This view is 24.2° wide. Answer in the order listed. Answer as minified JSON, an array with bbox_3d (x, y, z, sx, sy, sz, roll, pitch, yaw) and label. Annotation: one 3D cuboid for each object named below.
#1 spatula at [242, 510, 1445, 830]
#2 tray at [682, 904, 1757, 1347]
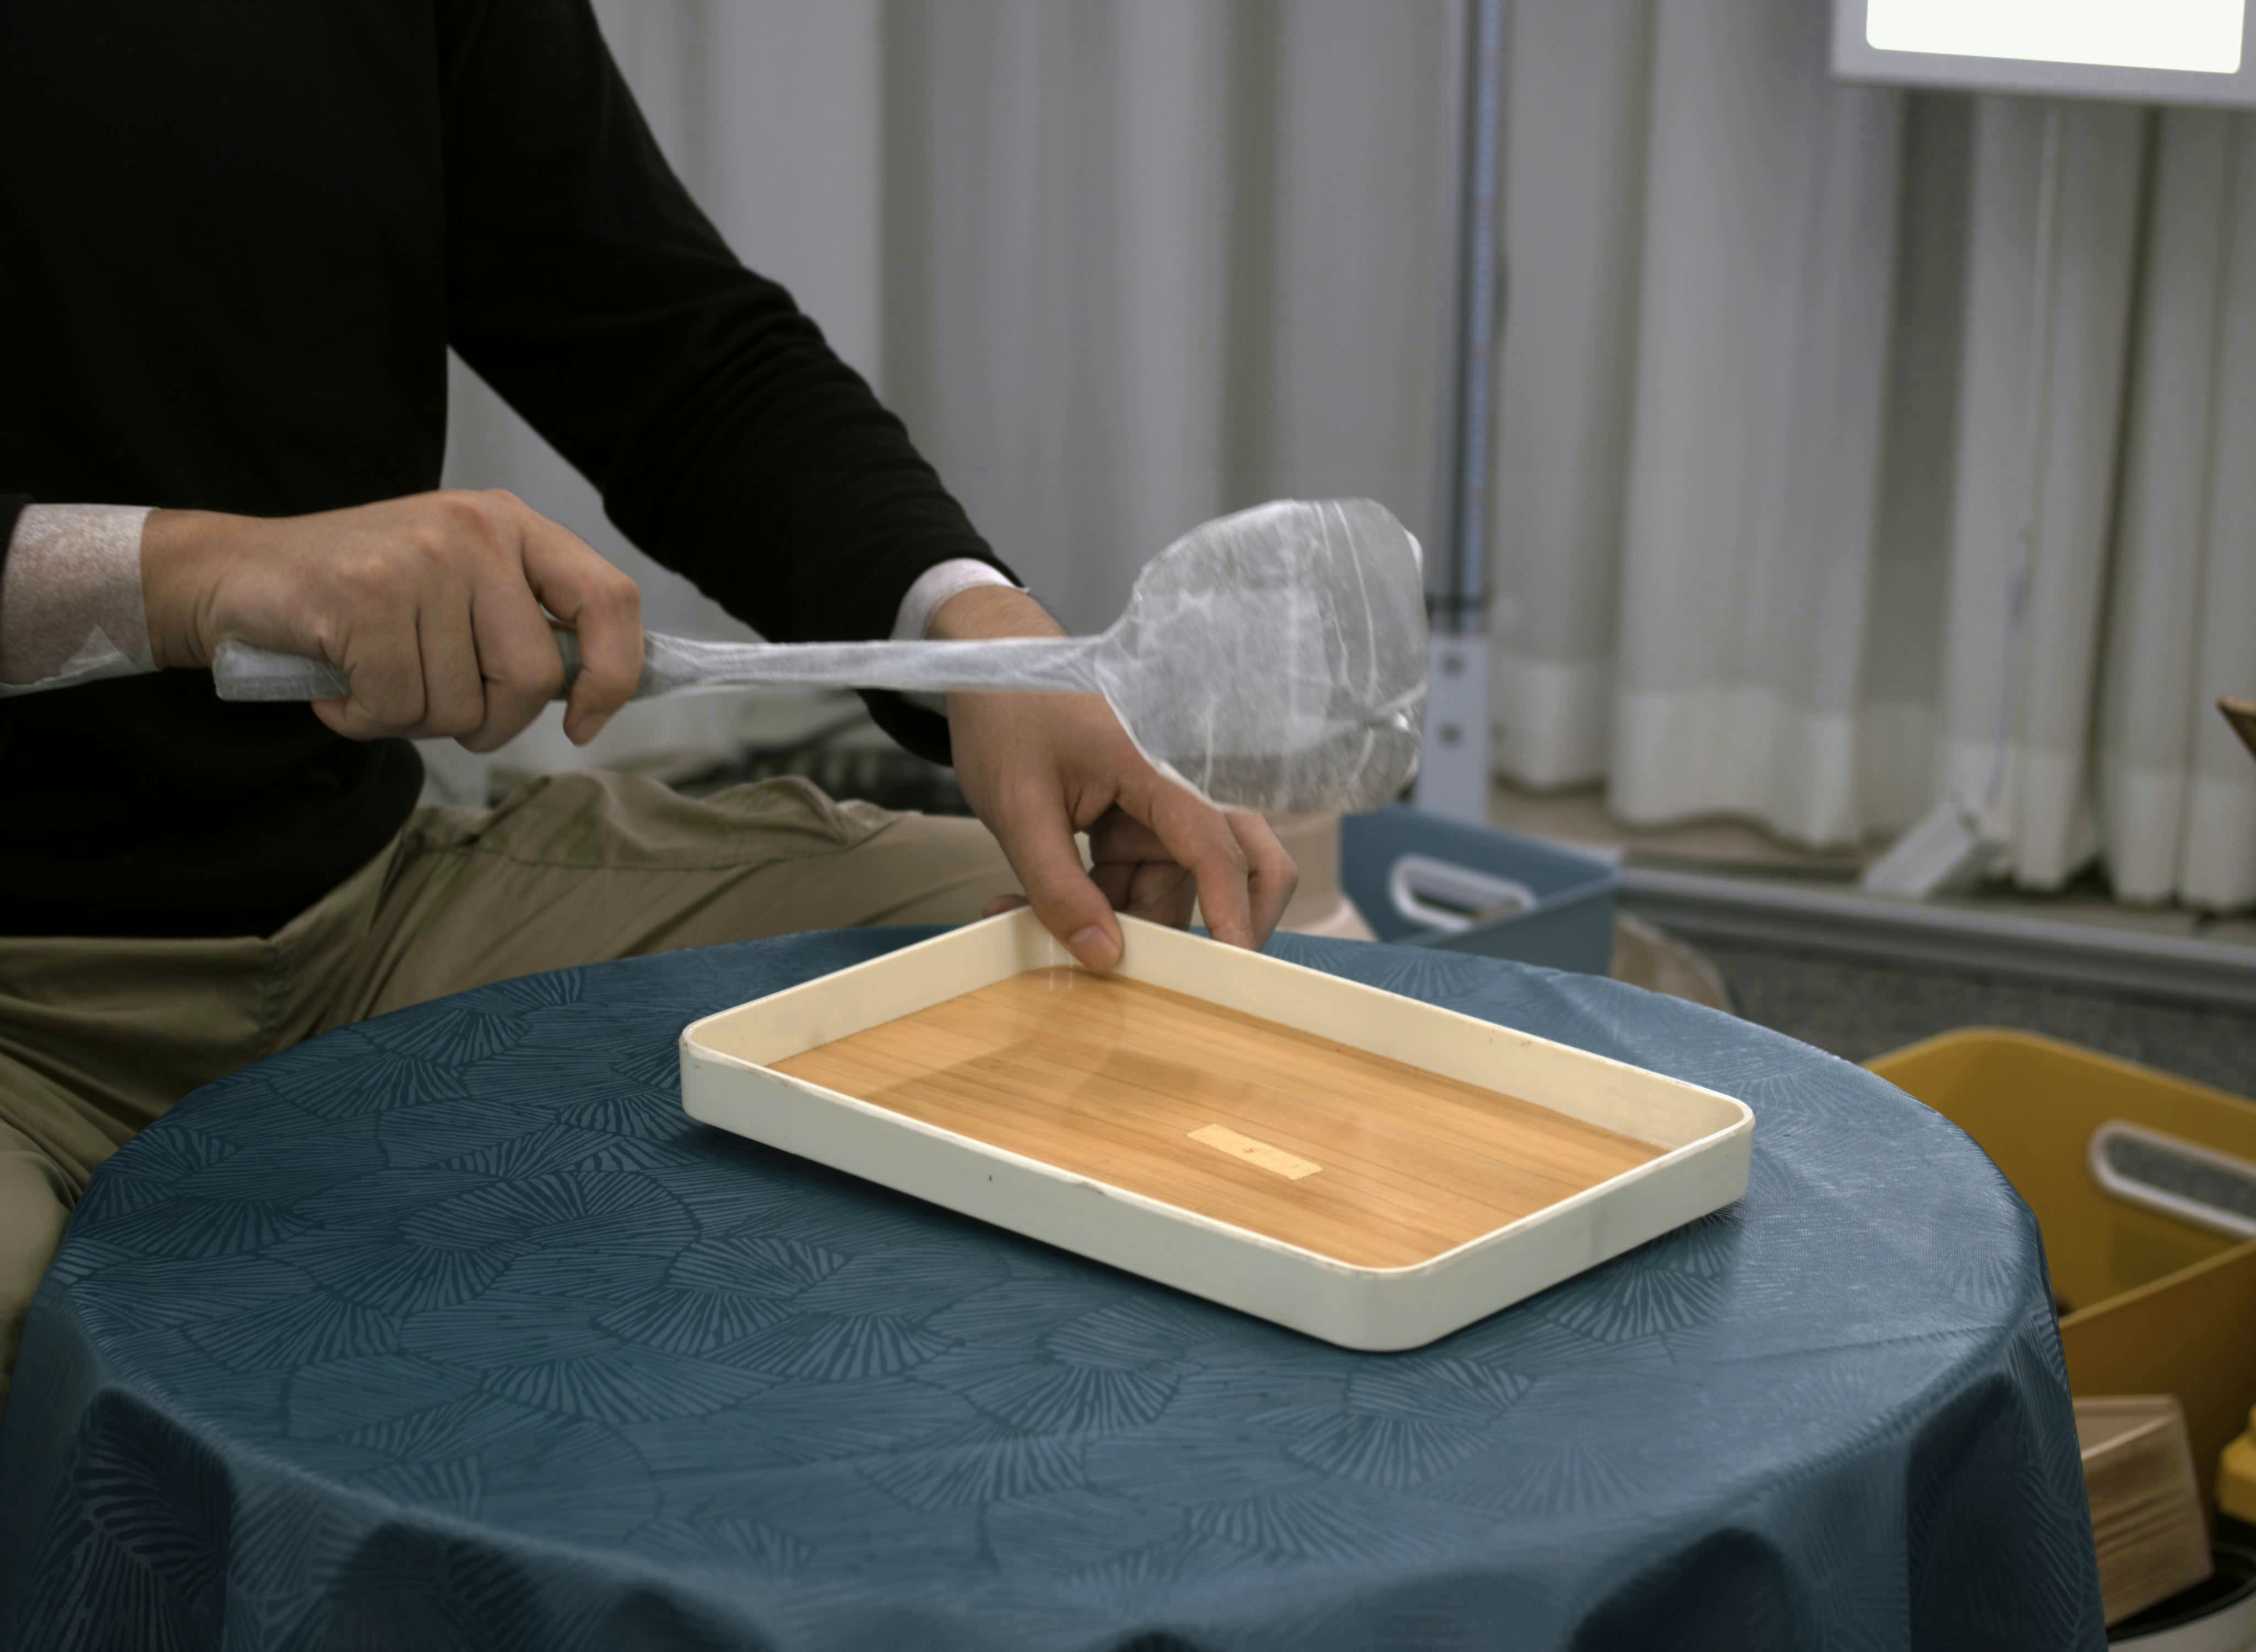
[{"bbox_3d":[-0.085,-0.046,1.600,0.363,0.099,0.044,0,6,0],"label":"spatula"},{"bbox_3d":[0.025,0.088,1.635,0.296,0.027,0.192,16,23,39],"label":"tray"}]
